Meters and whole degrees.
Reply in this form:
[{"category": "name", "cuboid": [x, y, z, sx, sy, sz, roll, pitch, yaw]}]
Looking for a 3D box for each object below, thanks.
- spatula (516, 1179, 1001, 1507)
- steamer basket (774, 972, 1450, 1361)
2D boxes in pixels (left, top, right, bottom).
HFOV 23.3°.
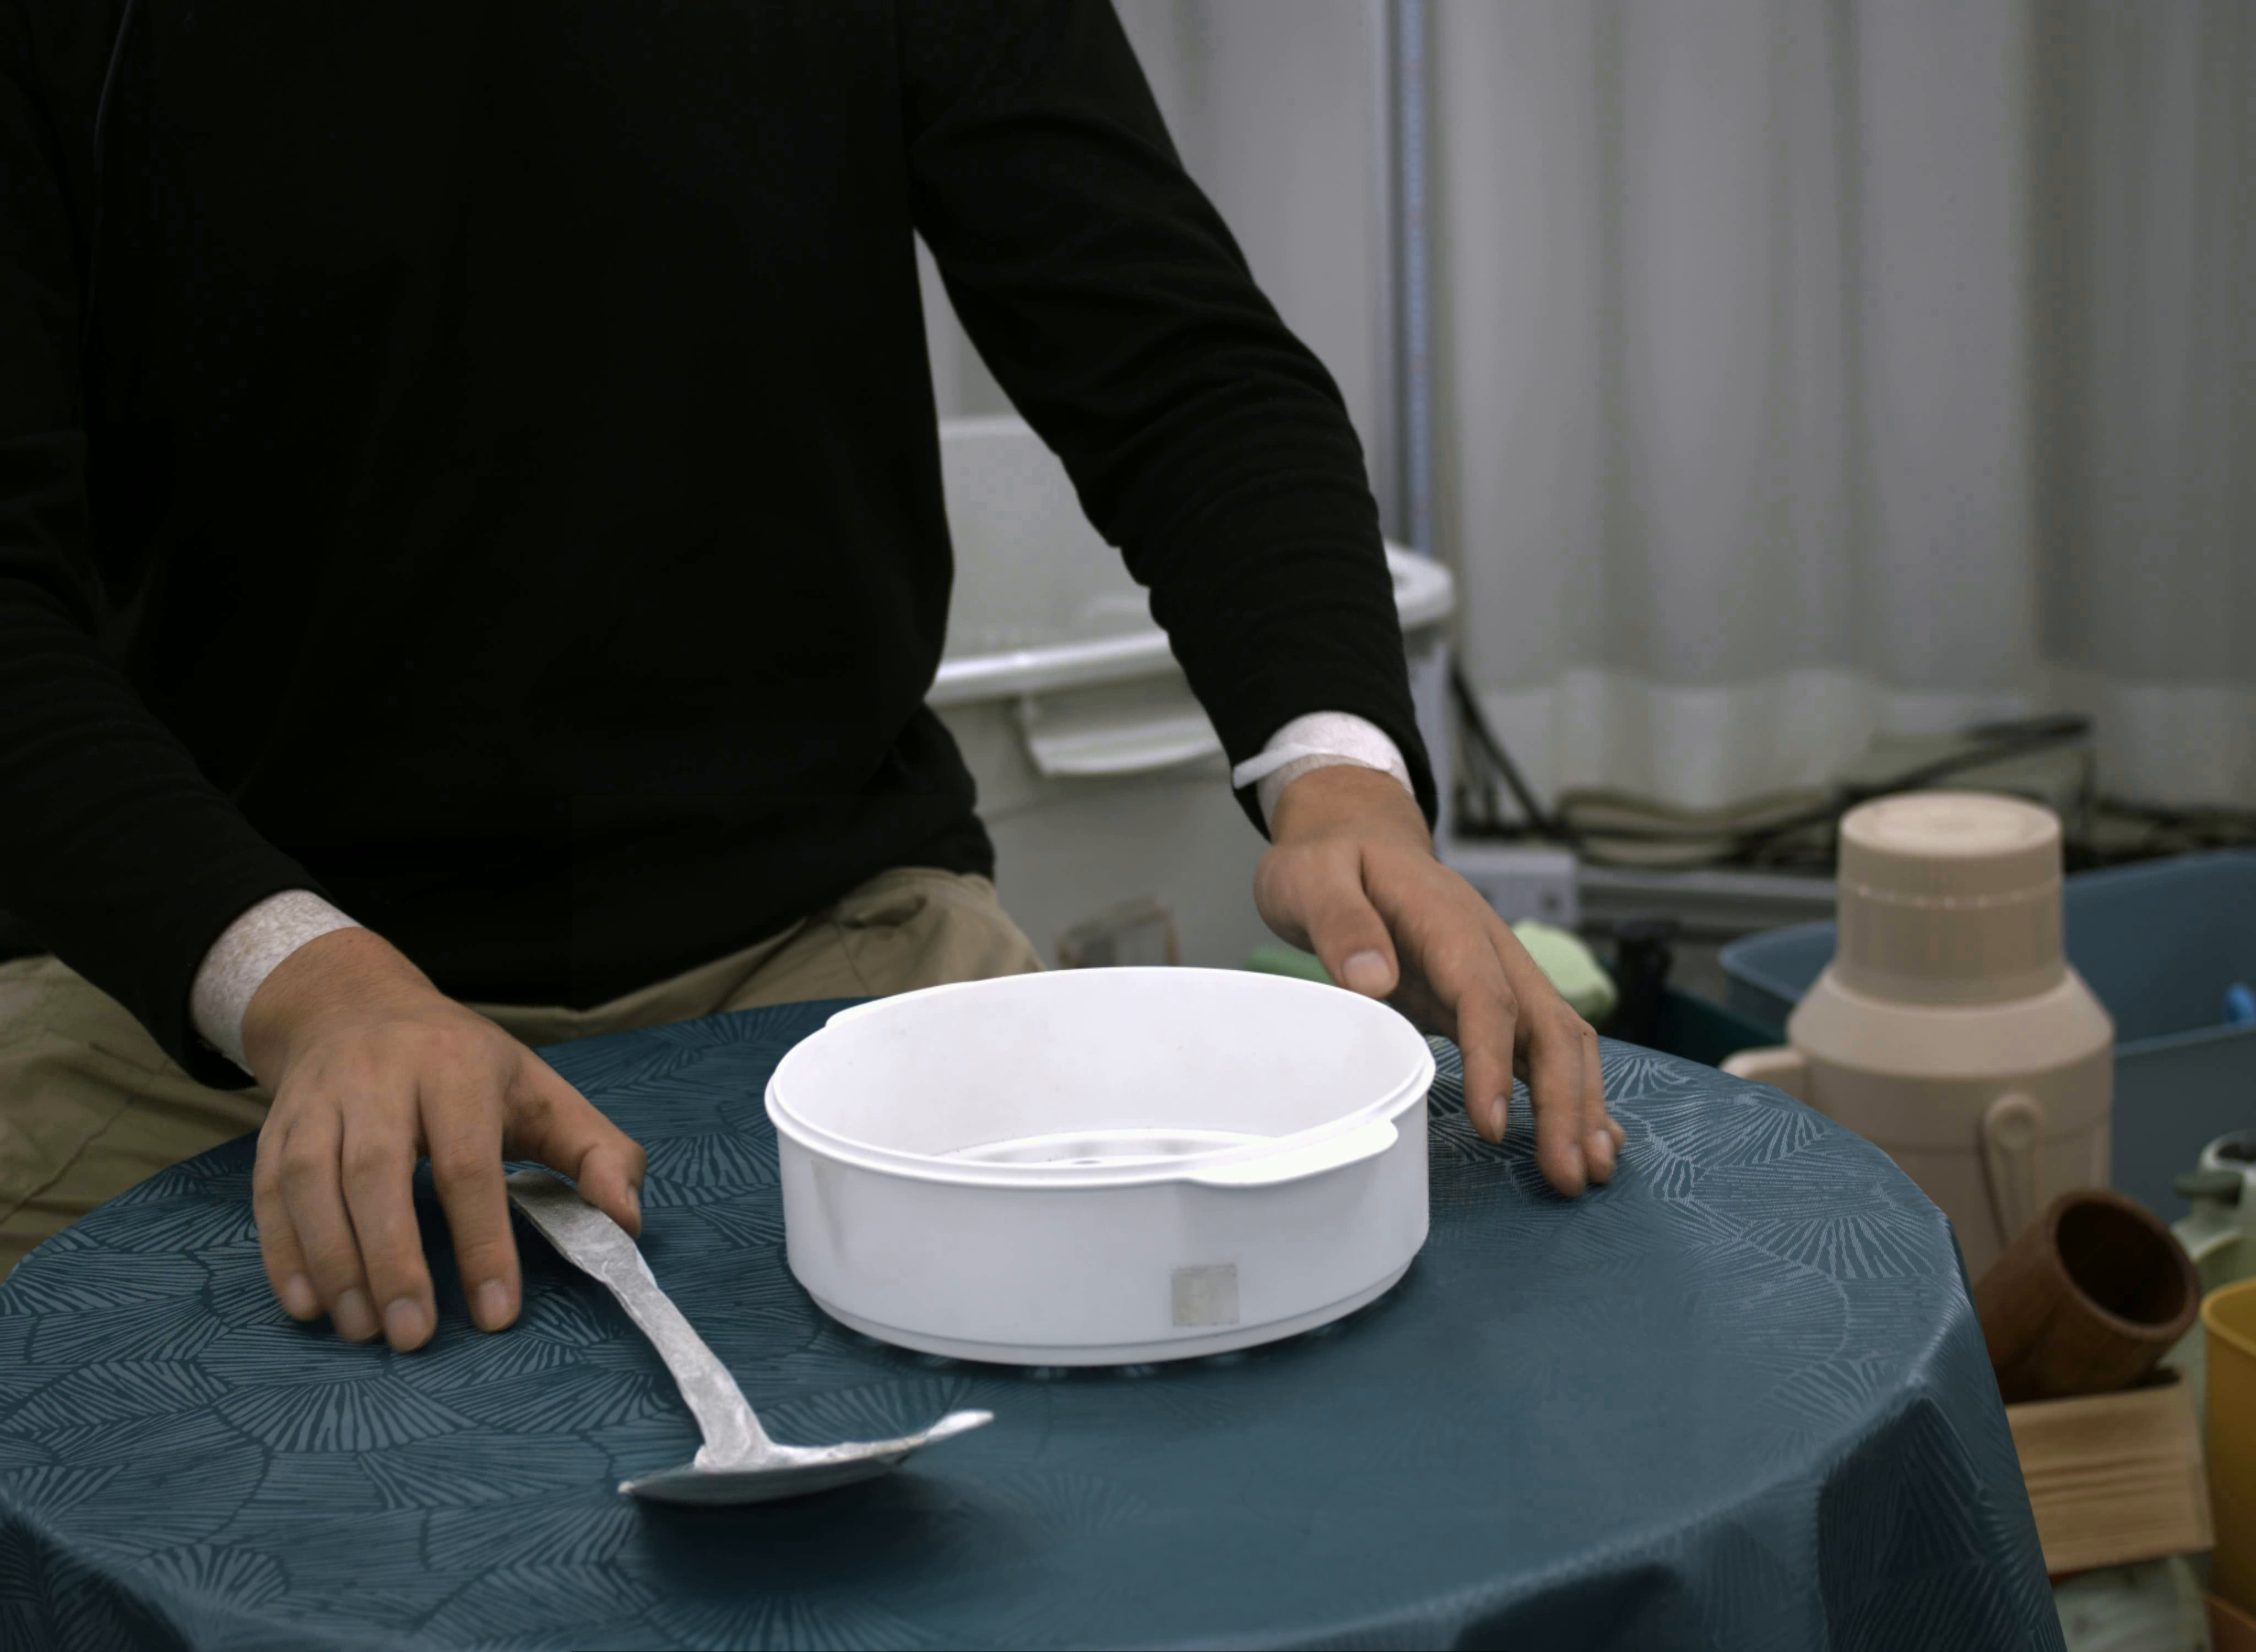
[{"category": "spatula", "cuboid": [-0.131, 0.139, 1.575, 0.098, 0.044, 0.368, -9, 16, -18]}, {"category": "steamer basket", "cuboid": [-0.003, 0.101, 1.629, 0.201, 0.069, 0.232, -12, 16, -32]}]
